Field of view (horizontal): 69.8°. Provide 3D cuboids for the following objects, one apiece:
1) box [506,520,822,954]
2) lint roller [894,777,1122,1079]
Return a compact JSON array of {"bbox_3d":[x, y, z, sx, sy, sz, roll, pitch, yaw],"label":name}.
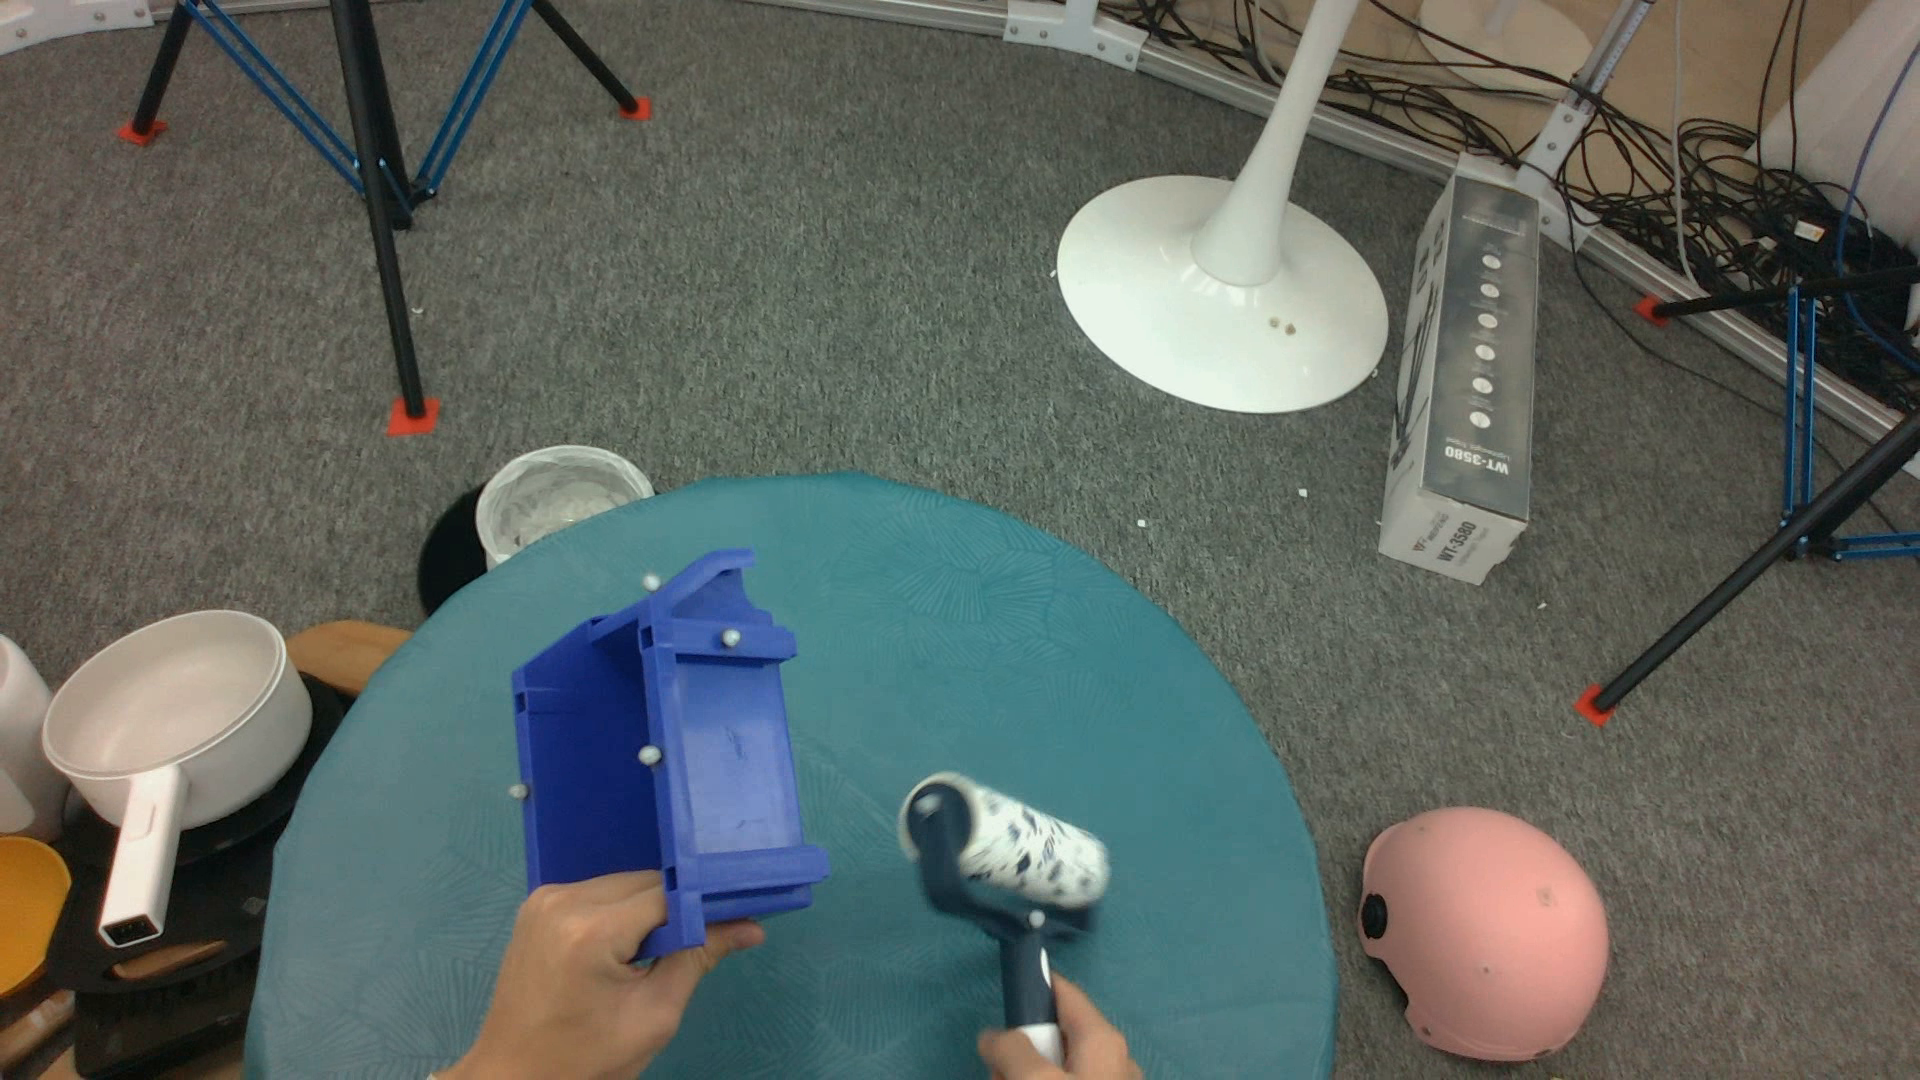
[{"bbox_3d":[-0.145,0.092,0.654,0.082,0.124,0.180,6,67,-48],"label":"box"},{"bbox_3d":[0.044,0.252,0.689,0.050,0.176,0.248,-25,58,26],"label":"lint roller"}]
